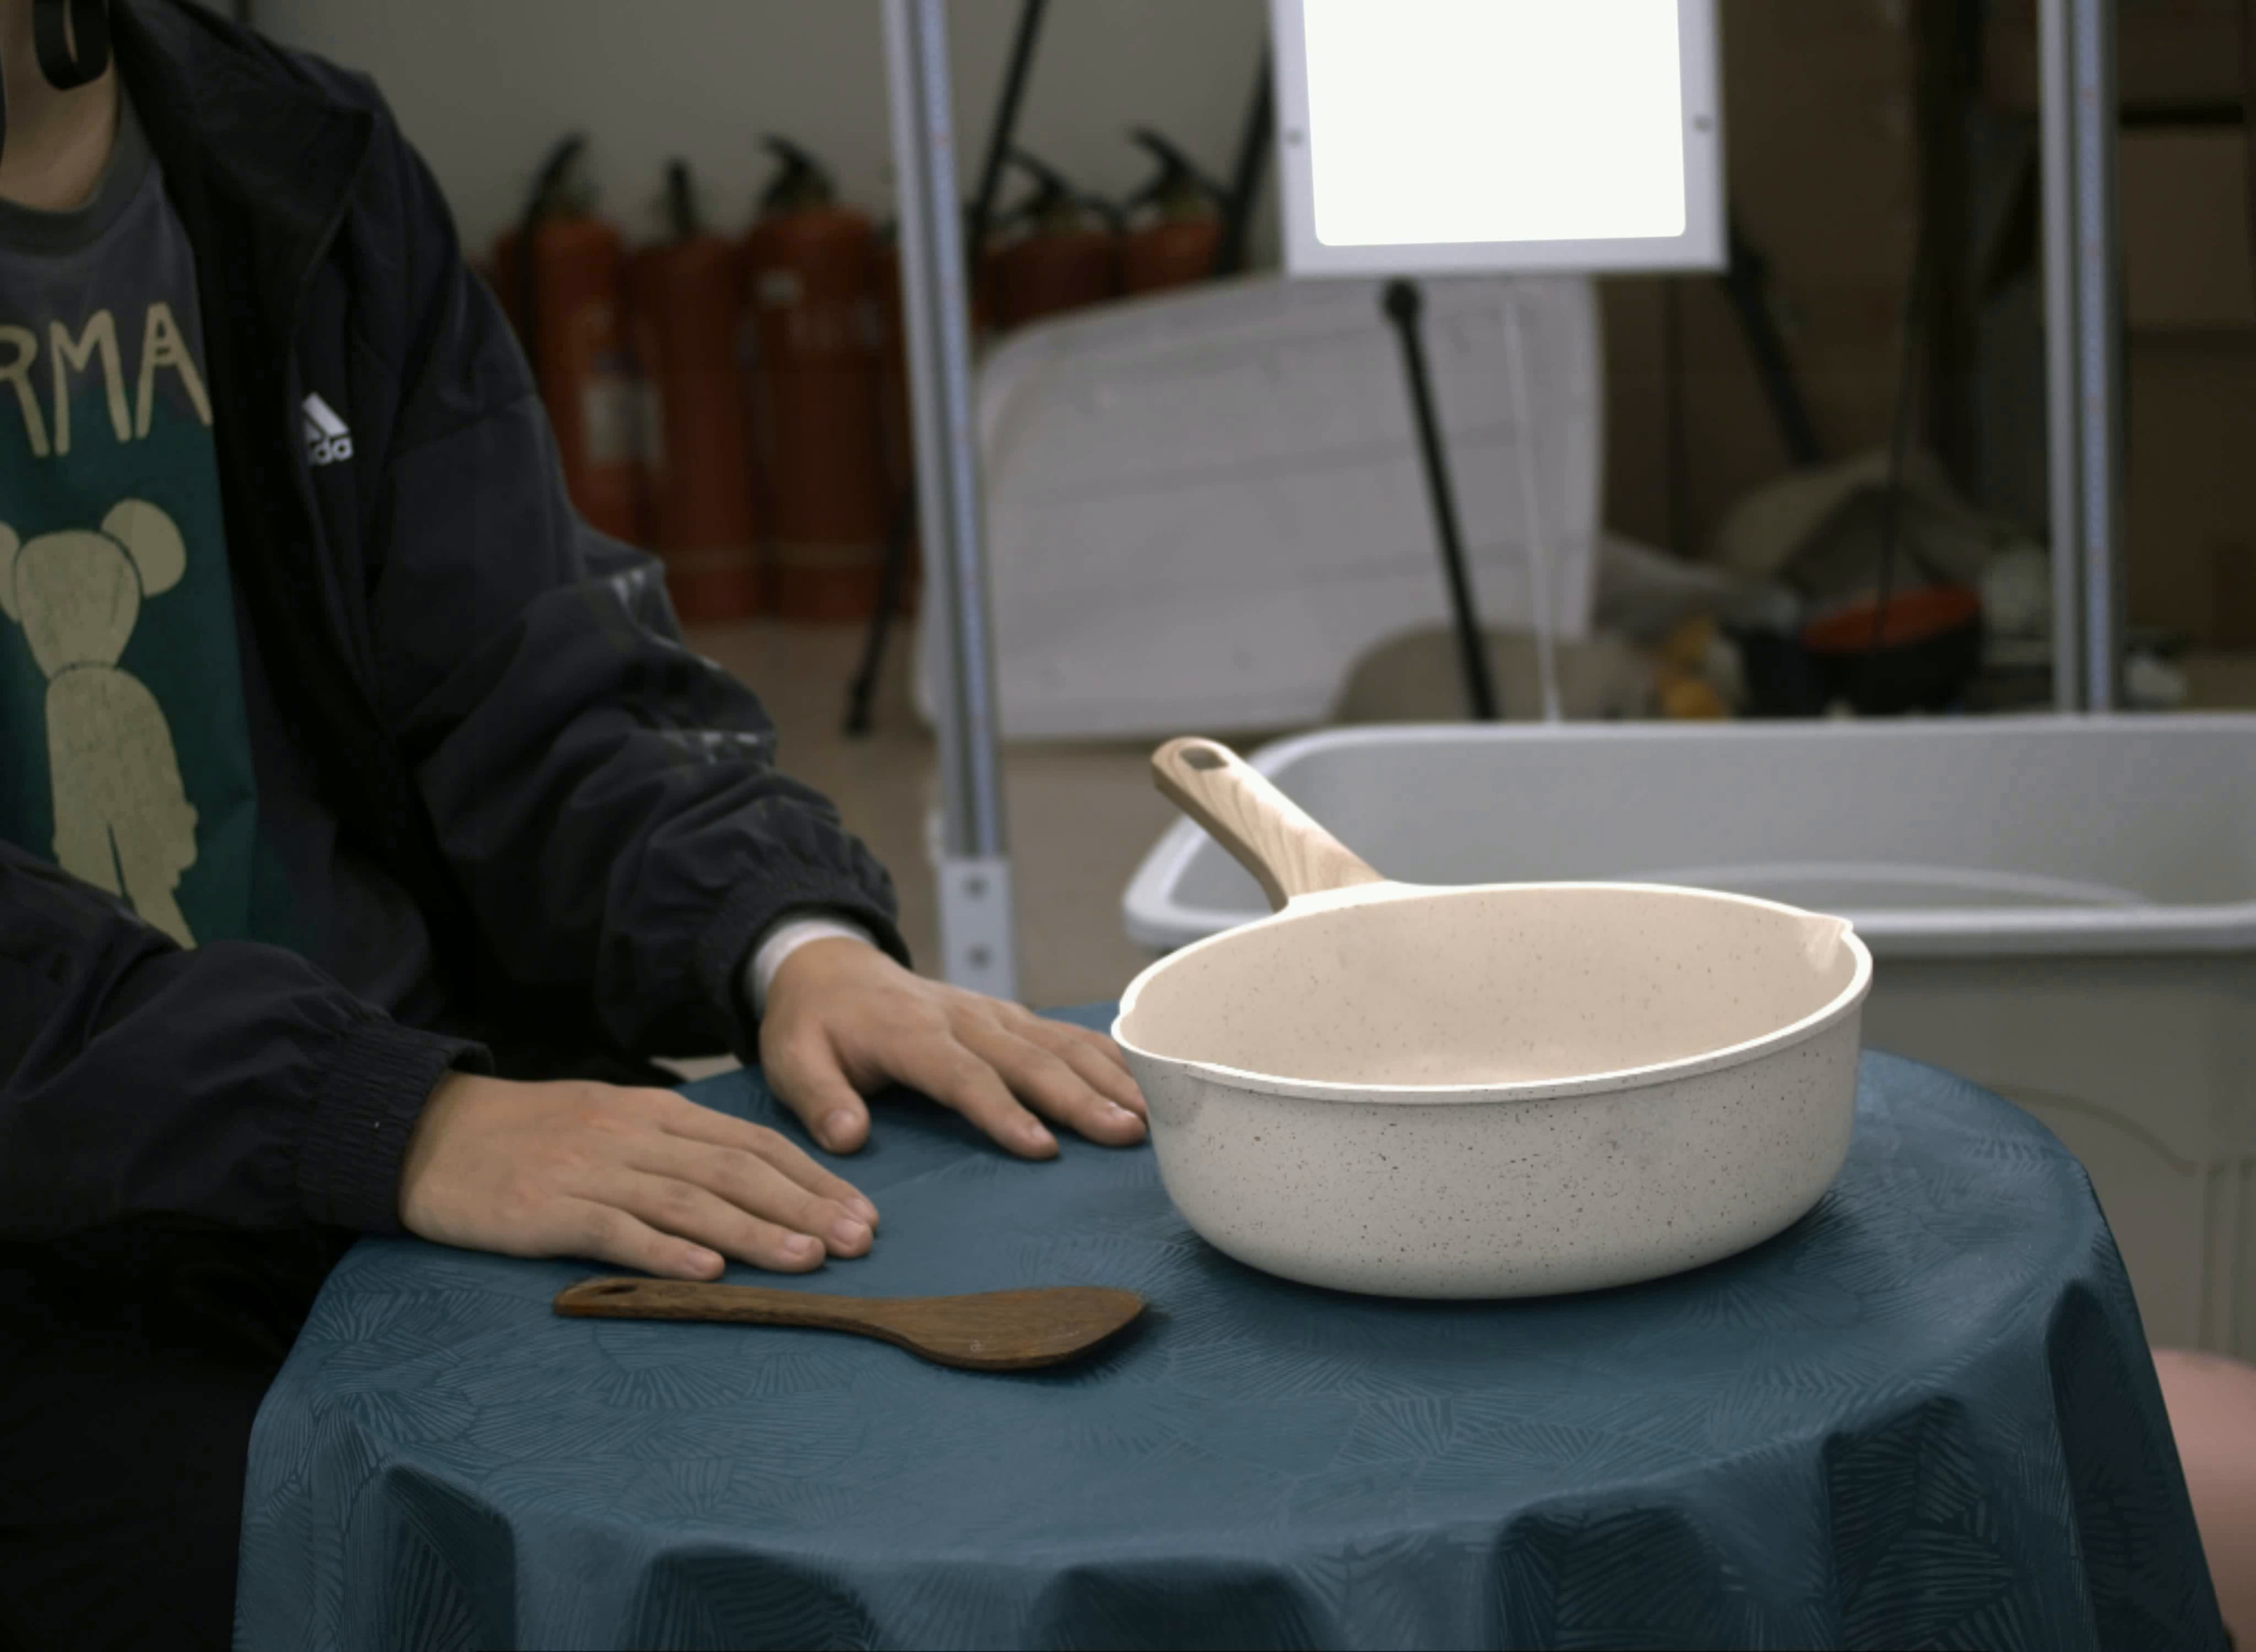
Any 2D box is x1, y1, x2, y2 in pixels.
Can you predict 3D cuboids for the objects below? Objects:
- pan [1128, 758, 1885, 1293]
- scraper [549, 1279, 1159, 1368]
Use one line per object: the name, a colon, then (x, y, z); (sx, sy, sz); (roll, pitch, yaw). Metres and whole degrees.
pan: (0.098, 0.063, 1.915); (0.259, 0.102, 0.440); (-11, 14, -17)
scraper: (-0.093, 0.158, 1.787); (0.215, 0.011, 0.074); (1, 14, 27)
